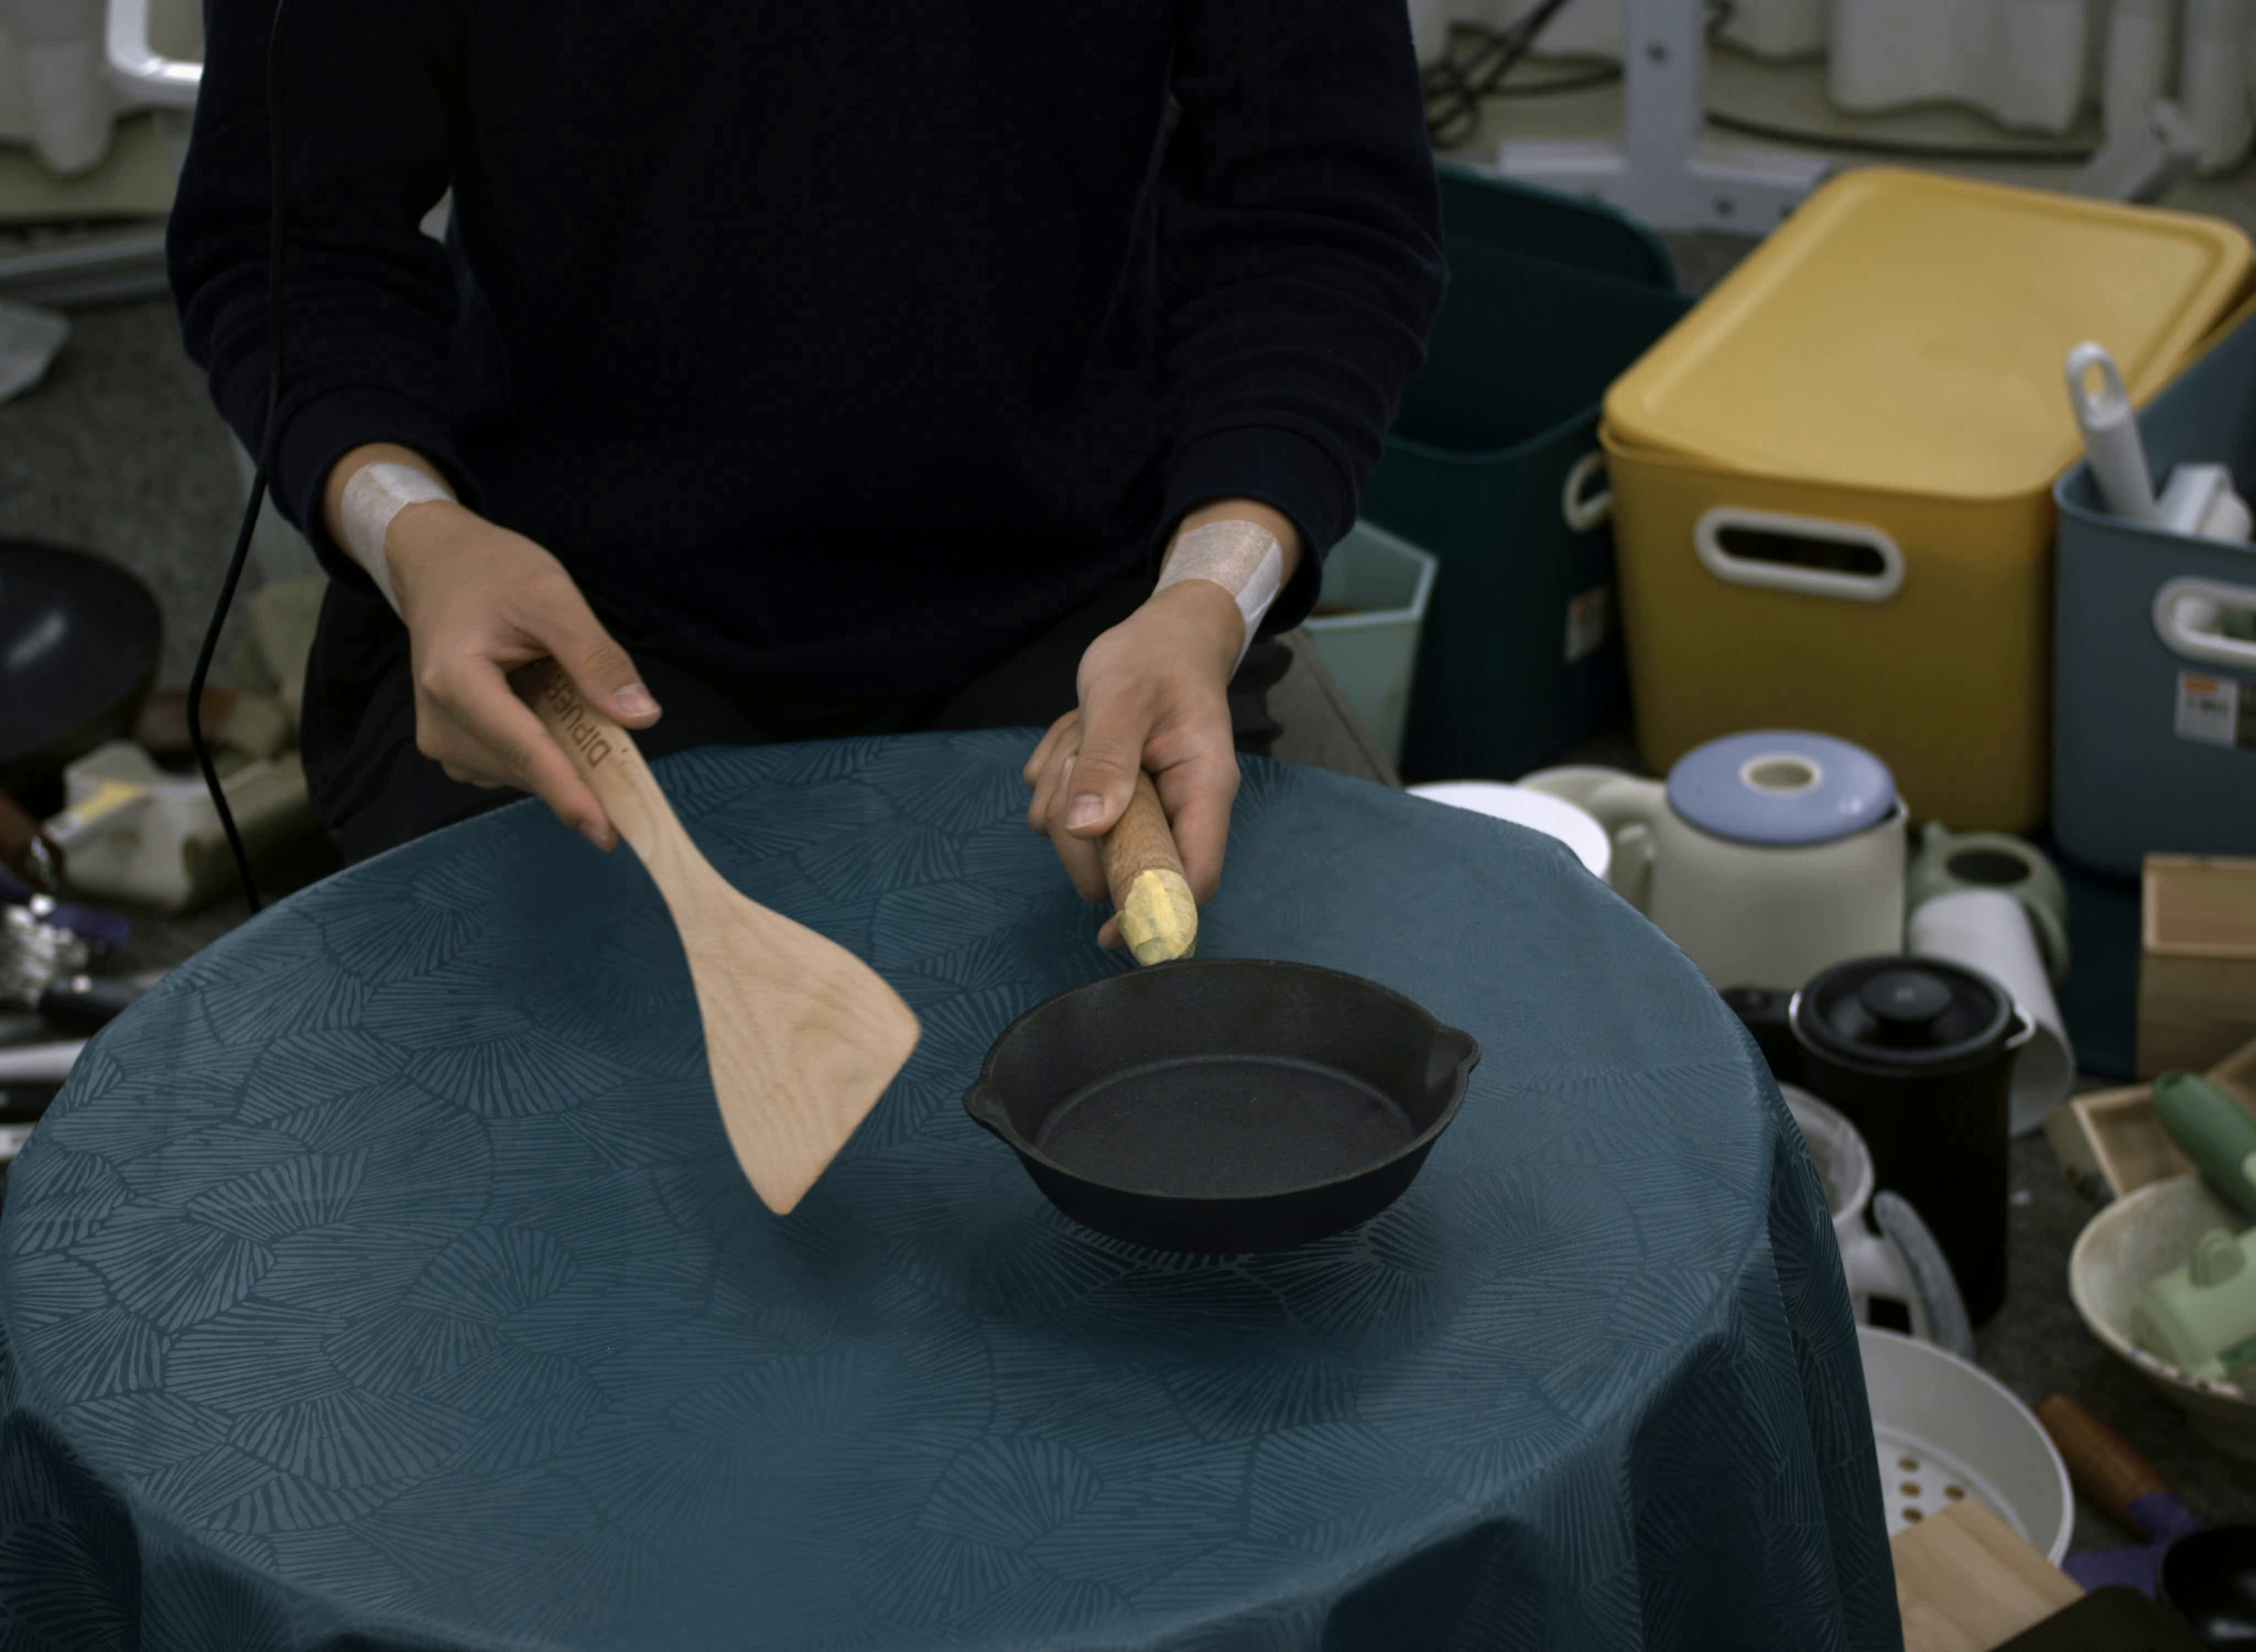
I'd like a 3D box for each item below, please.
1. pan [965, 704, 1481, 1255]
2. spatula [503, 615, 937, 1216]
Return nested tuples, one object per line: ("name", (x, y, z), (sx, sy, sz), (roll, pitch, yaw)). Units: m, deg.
("pan", (0.019, 0.048, 1.886), (0.168, 0.049, 0.328), (-5, 28, -7))
("spatula", (-0.150, 0.015, 1.911), (0.080, 0.016, 0.331), (-45, 43, 5))
